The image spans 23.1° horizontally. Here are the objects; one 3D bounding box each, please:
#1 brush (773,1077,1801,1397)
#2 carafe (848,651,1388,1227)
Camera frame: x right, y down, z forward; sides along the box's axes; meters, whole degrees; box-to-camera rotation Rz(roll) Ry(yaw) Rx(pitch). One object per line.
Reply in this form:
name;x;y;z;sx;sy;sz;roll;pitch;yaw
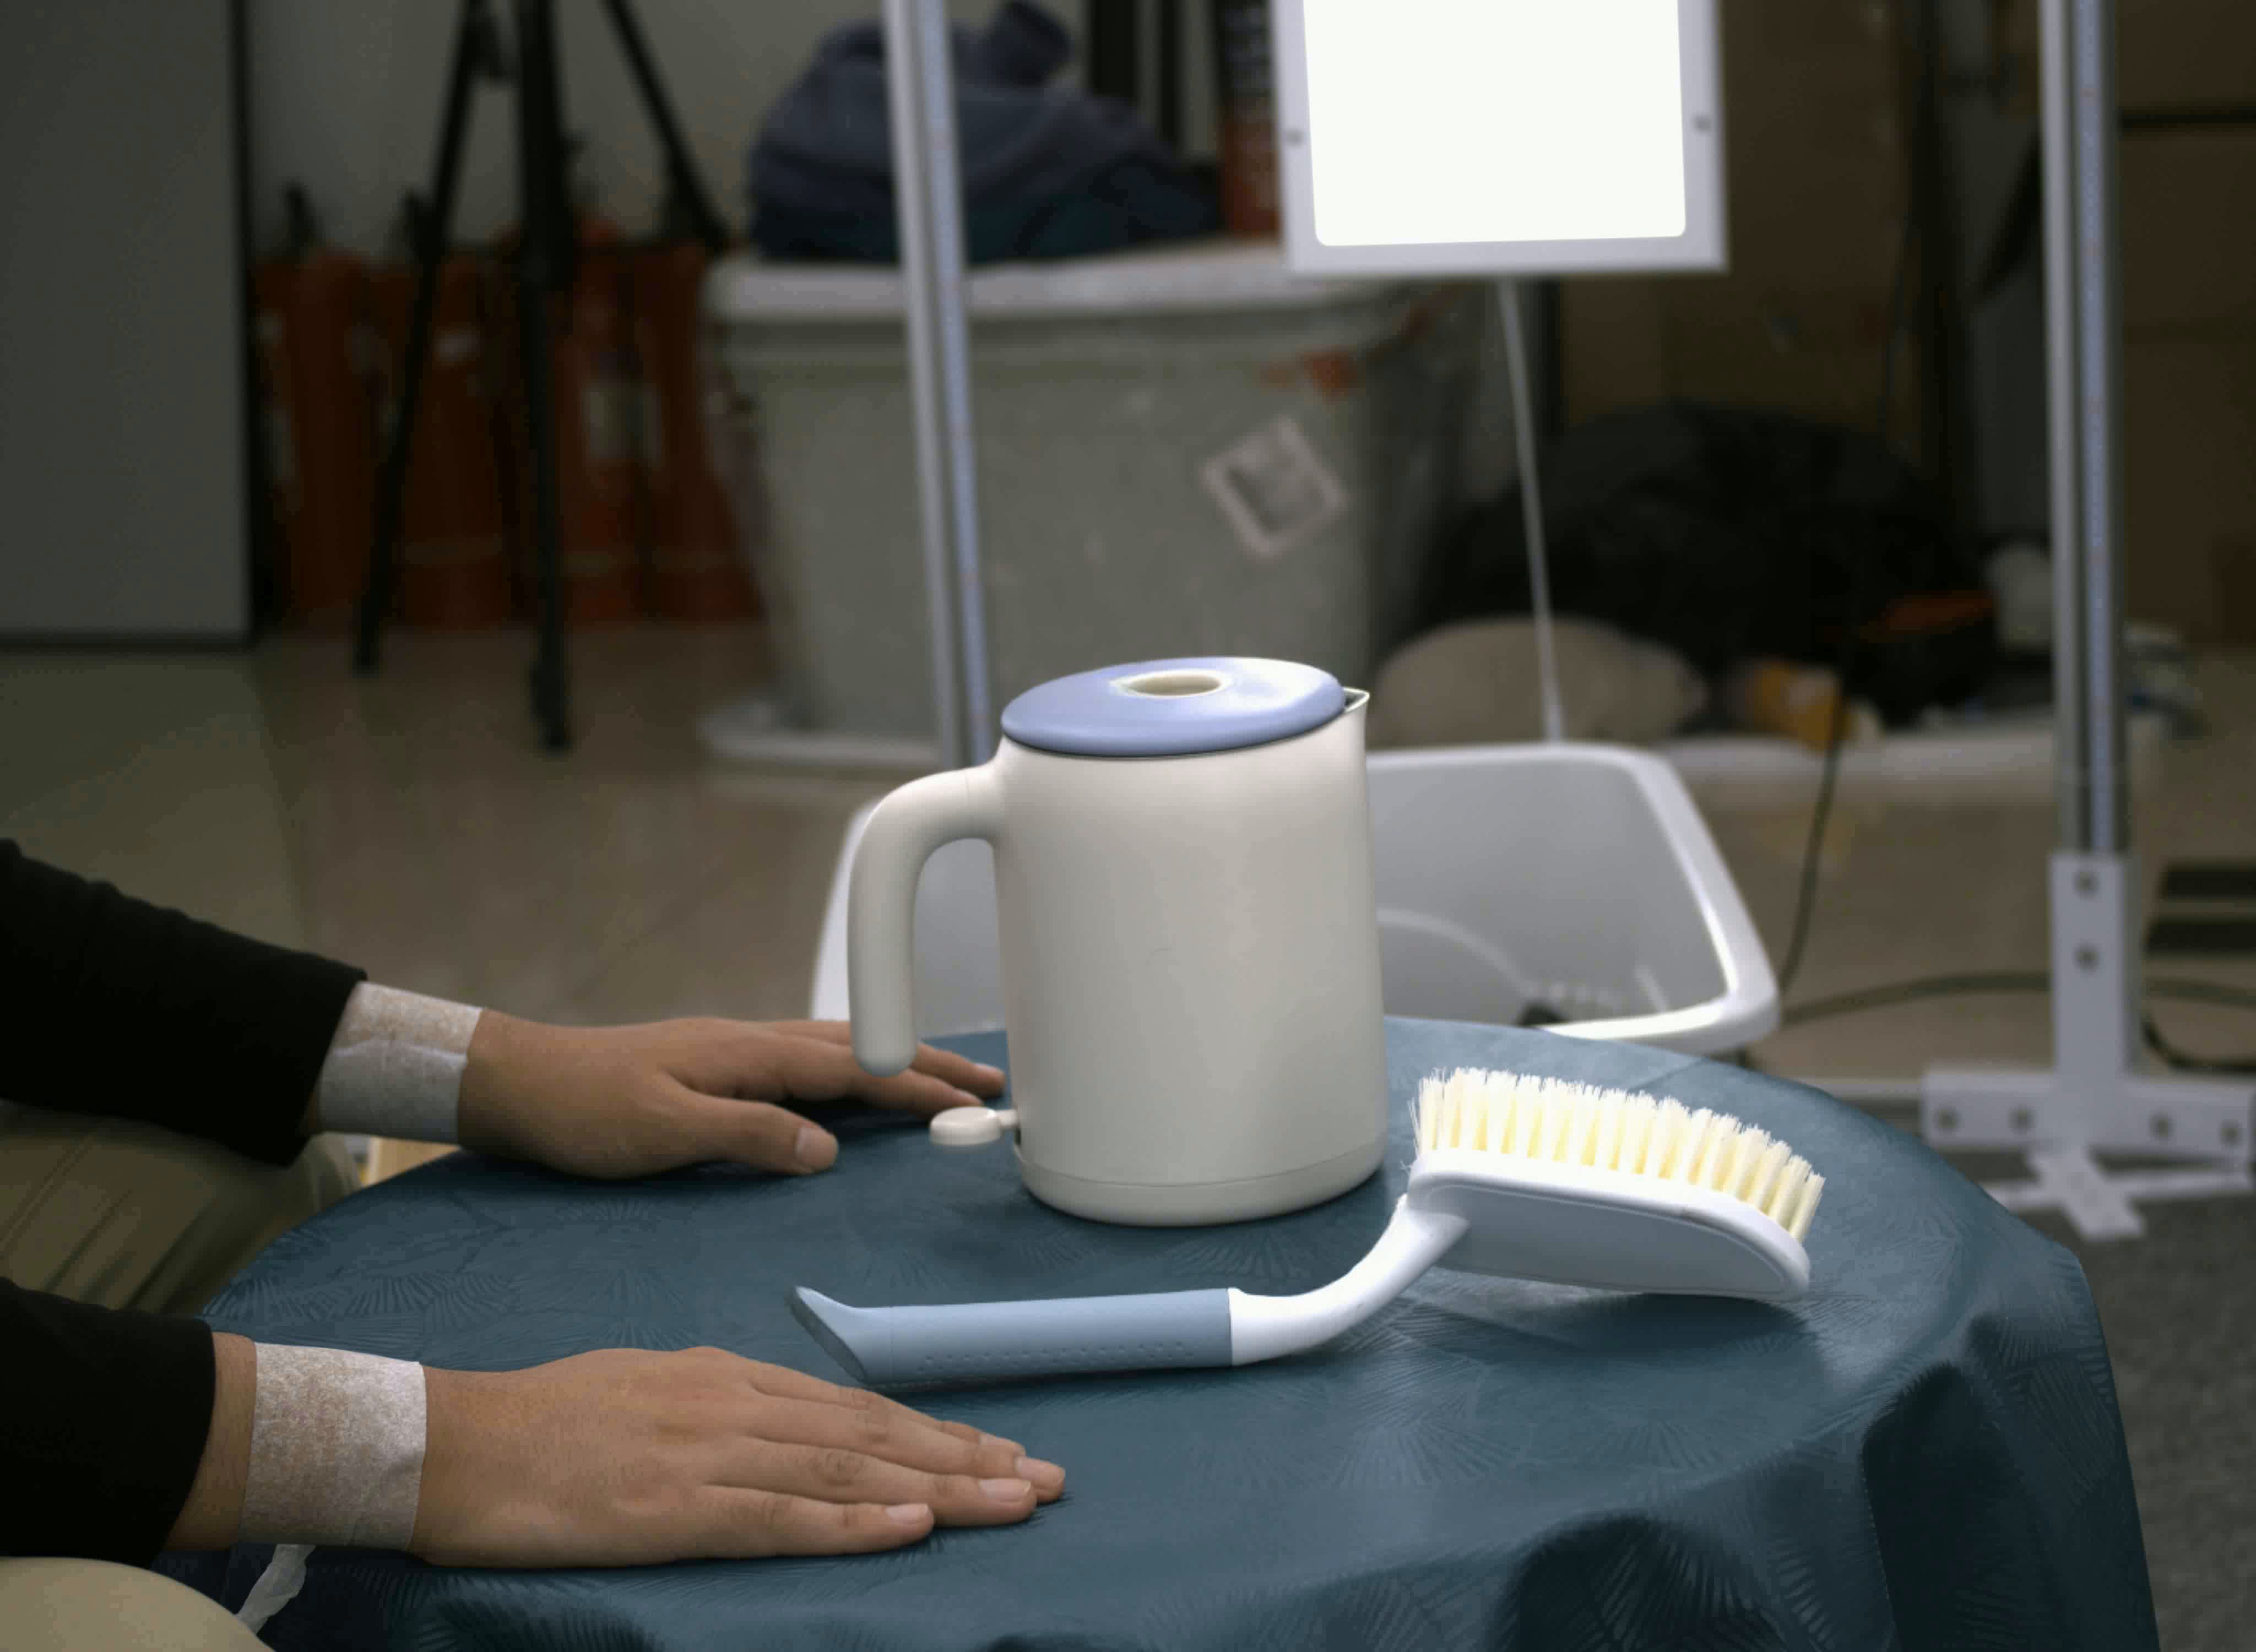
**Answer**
brush;0.049;0.121;1.731;0.325;0.083;0.084;-3;20;2
carafe;-0.003;0.041;1.886;0.189;0.183;0.133;-8;14;-8
